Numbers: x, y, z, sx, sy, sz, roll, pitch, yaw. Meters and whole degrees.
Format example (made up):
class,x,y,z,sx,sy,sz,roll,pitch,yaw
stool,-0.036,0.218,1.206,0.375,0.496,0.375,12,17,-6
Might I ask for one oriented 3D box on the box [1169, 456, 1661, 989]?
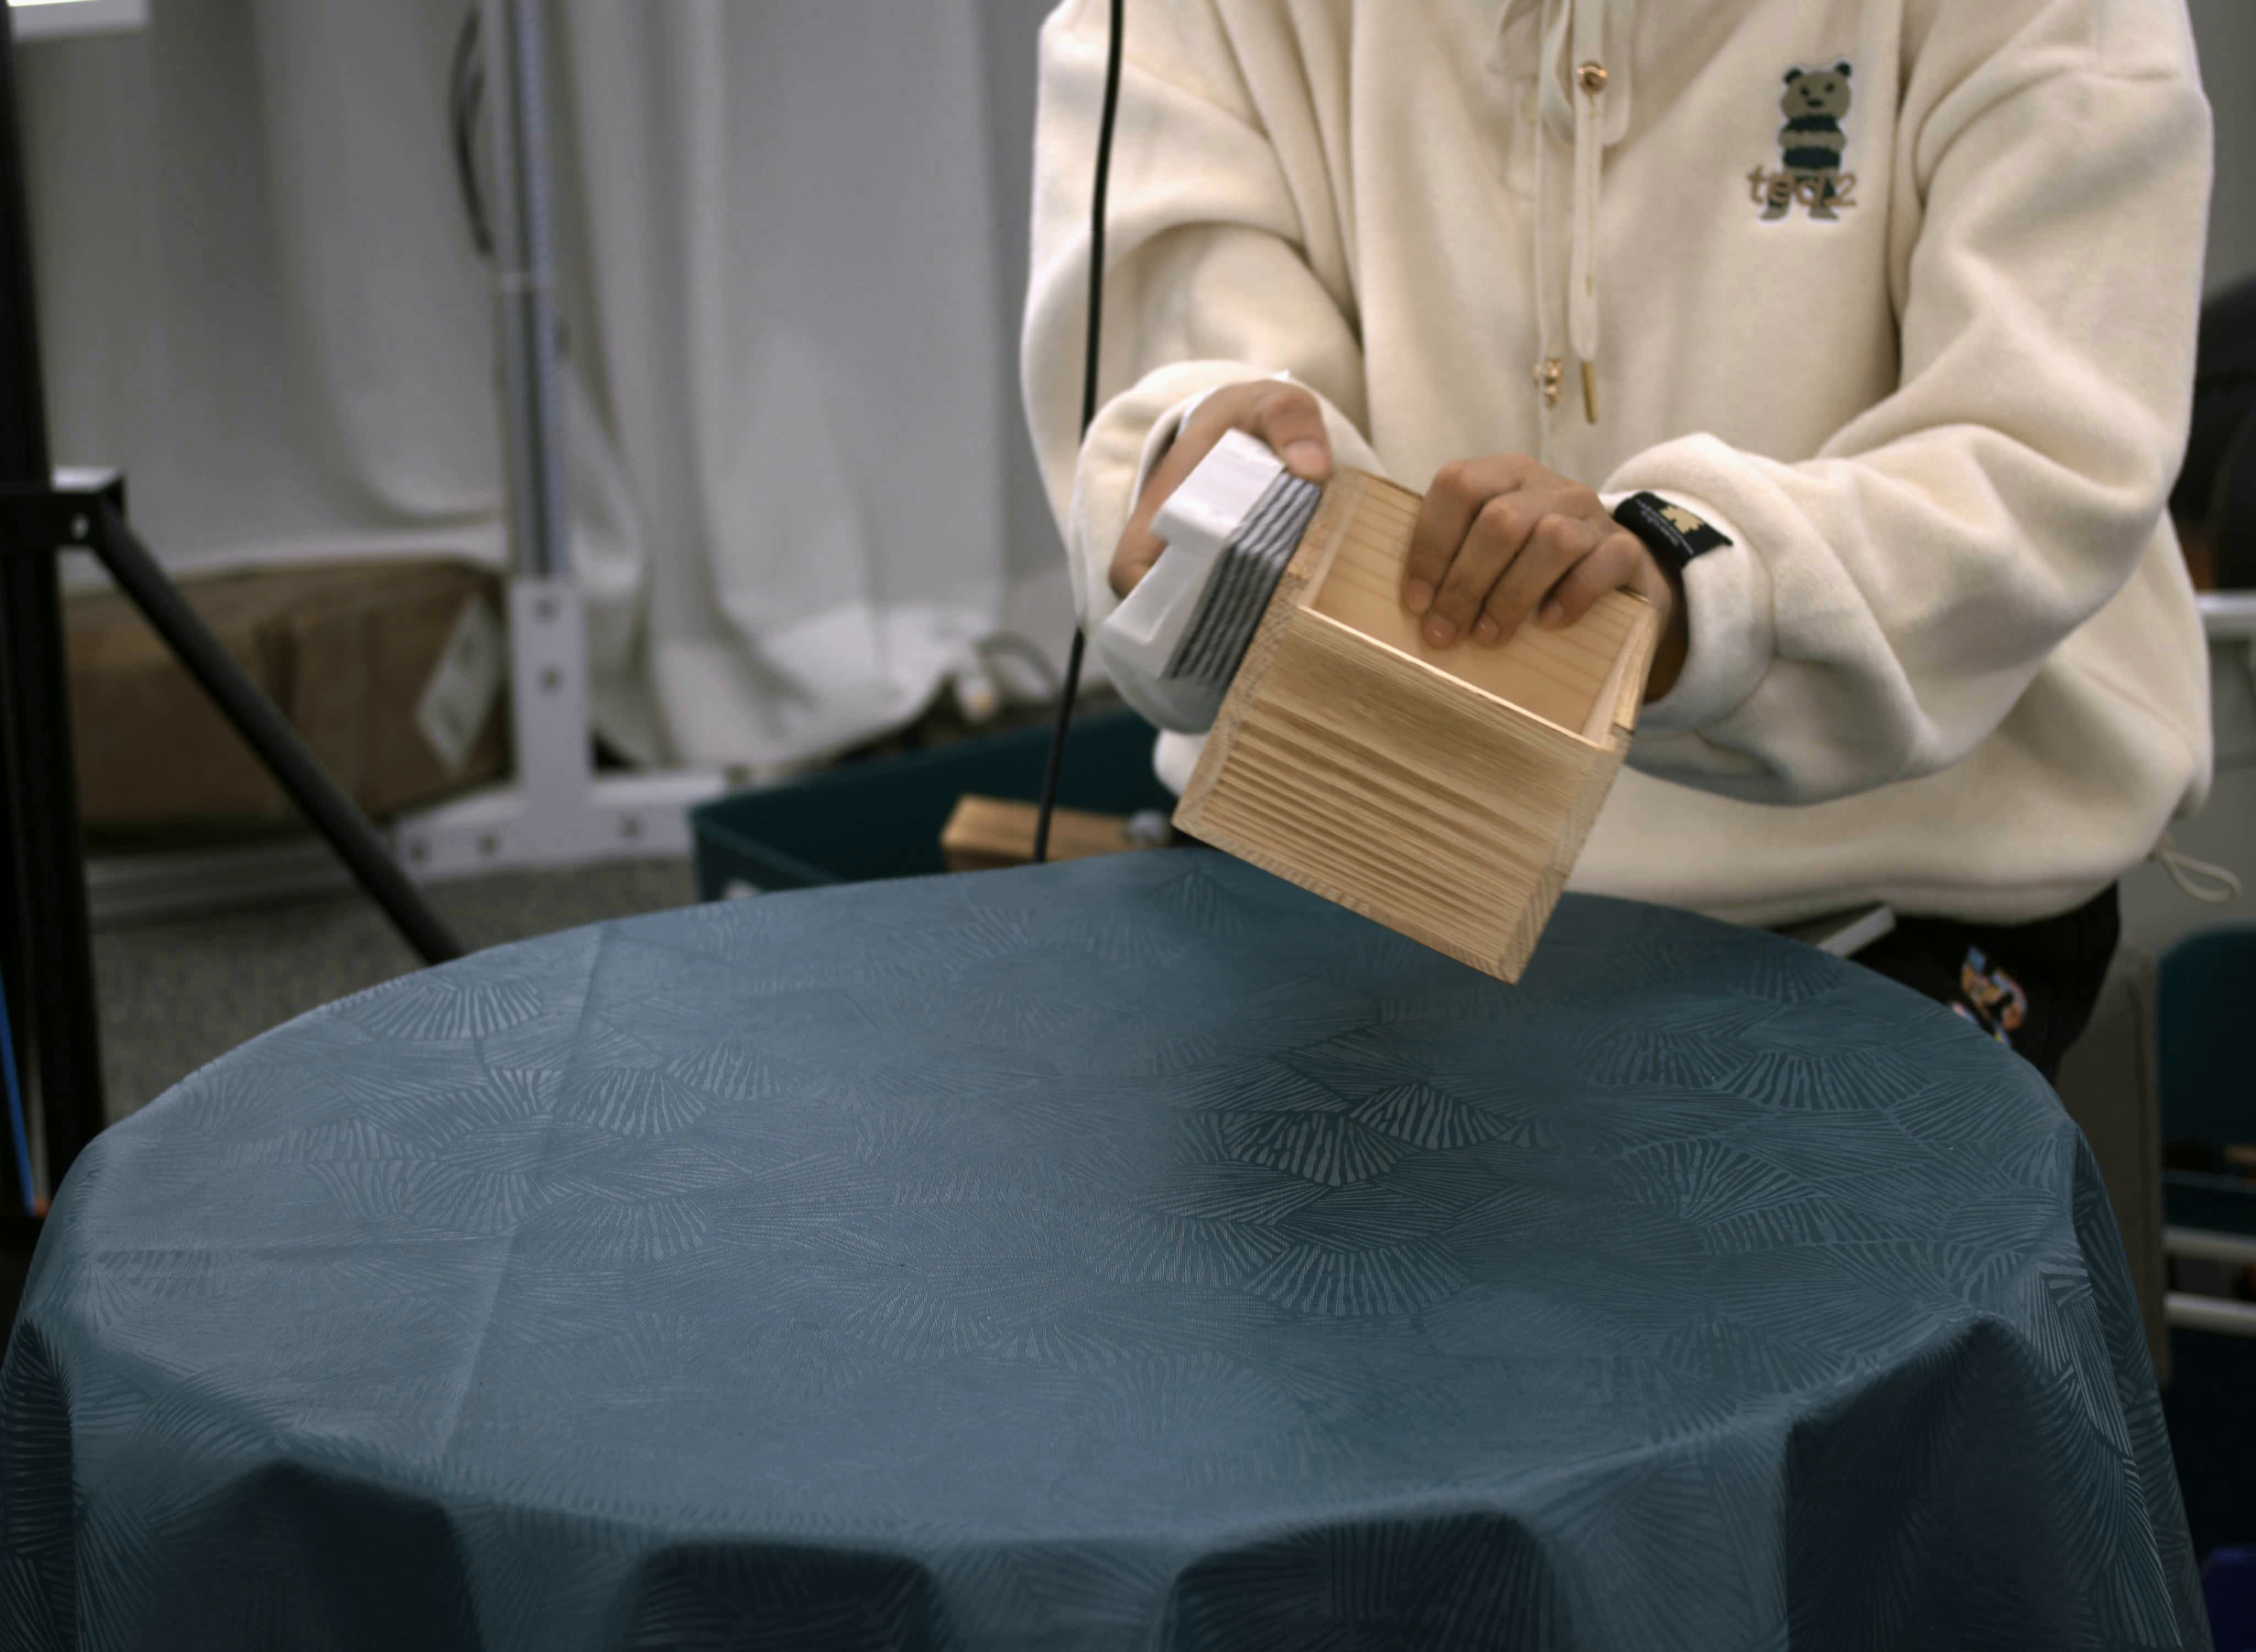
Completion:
class,x,y,z,sx,sy,sz,roll,pitch,yaw
box,0.088,-0.034,1.546,0.107,0.080,0.210,25,14,2

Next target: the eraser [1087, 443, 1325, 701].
class,x,y,z,sx,sy,sz,roll,pitch,yaw
eraser,0.027,-0.078,1.628,0.046,0.050,0.133,24,15,3
